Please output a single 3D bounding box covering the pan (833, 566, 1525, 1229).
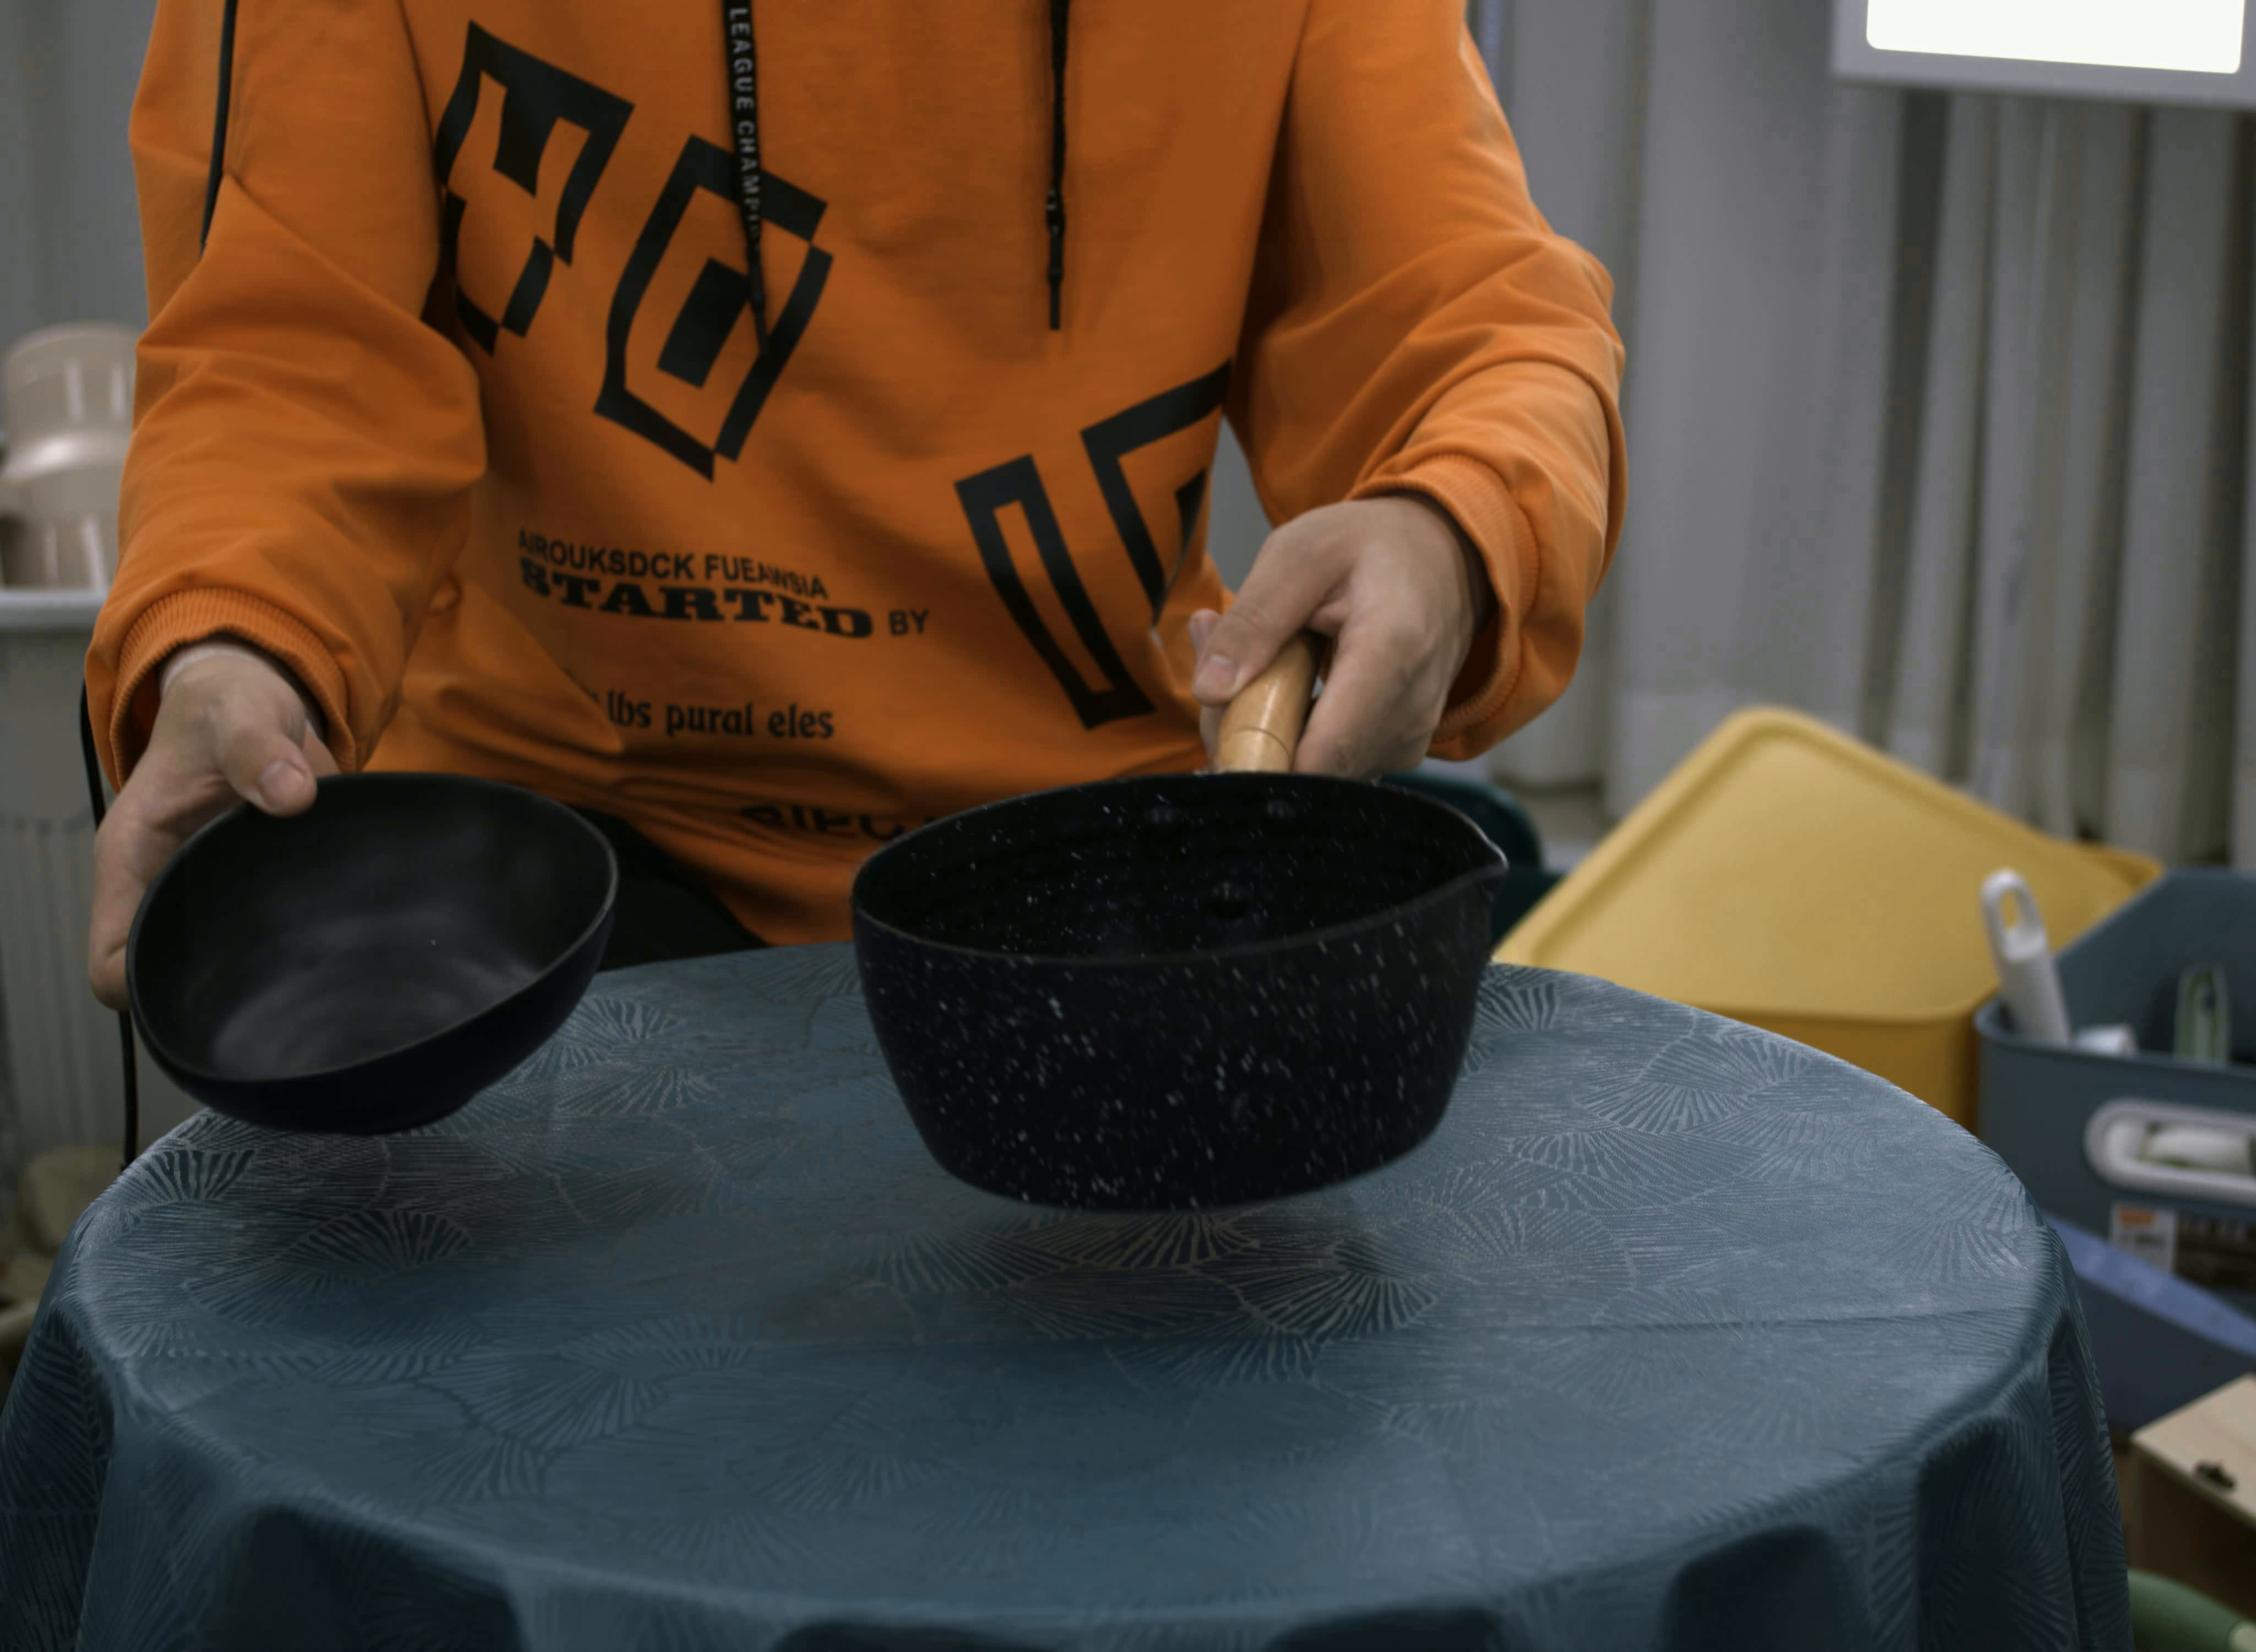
[{"bbox_3d":[0.028,0.017,1.605,0.206,0.109,0.342,-1,18,11],"label":"pan"}]

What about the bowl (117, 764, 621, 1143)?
[{"bbox_3d":[-0.226,0.049,1.584,0.136,0.067,0.170,17,38,23],"label":"bowl"}]
